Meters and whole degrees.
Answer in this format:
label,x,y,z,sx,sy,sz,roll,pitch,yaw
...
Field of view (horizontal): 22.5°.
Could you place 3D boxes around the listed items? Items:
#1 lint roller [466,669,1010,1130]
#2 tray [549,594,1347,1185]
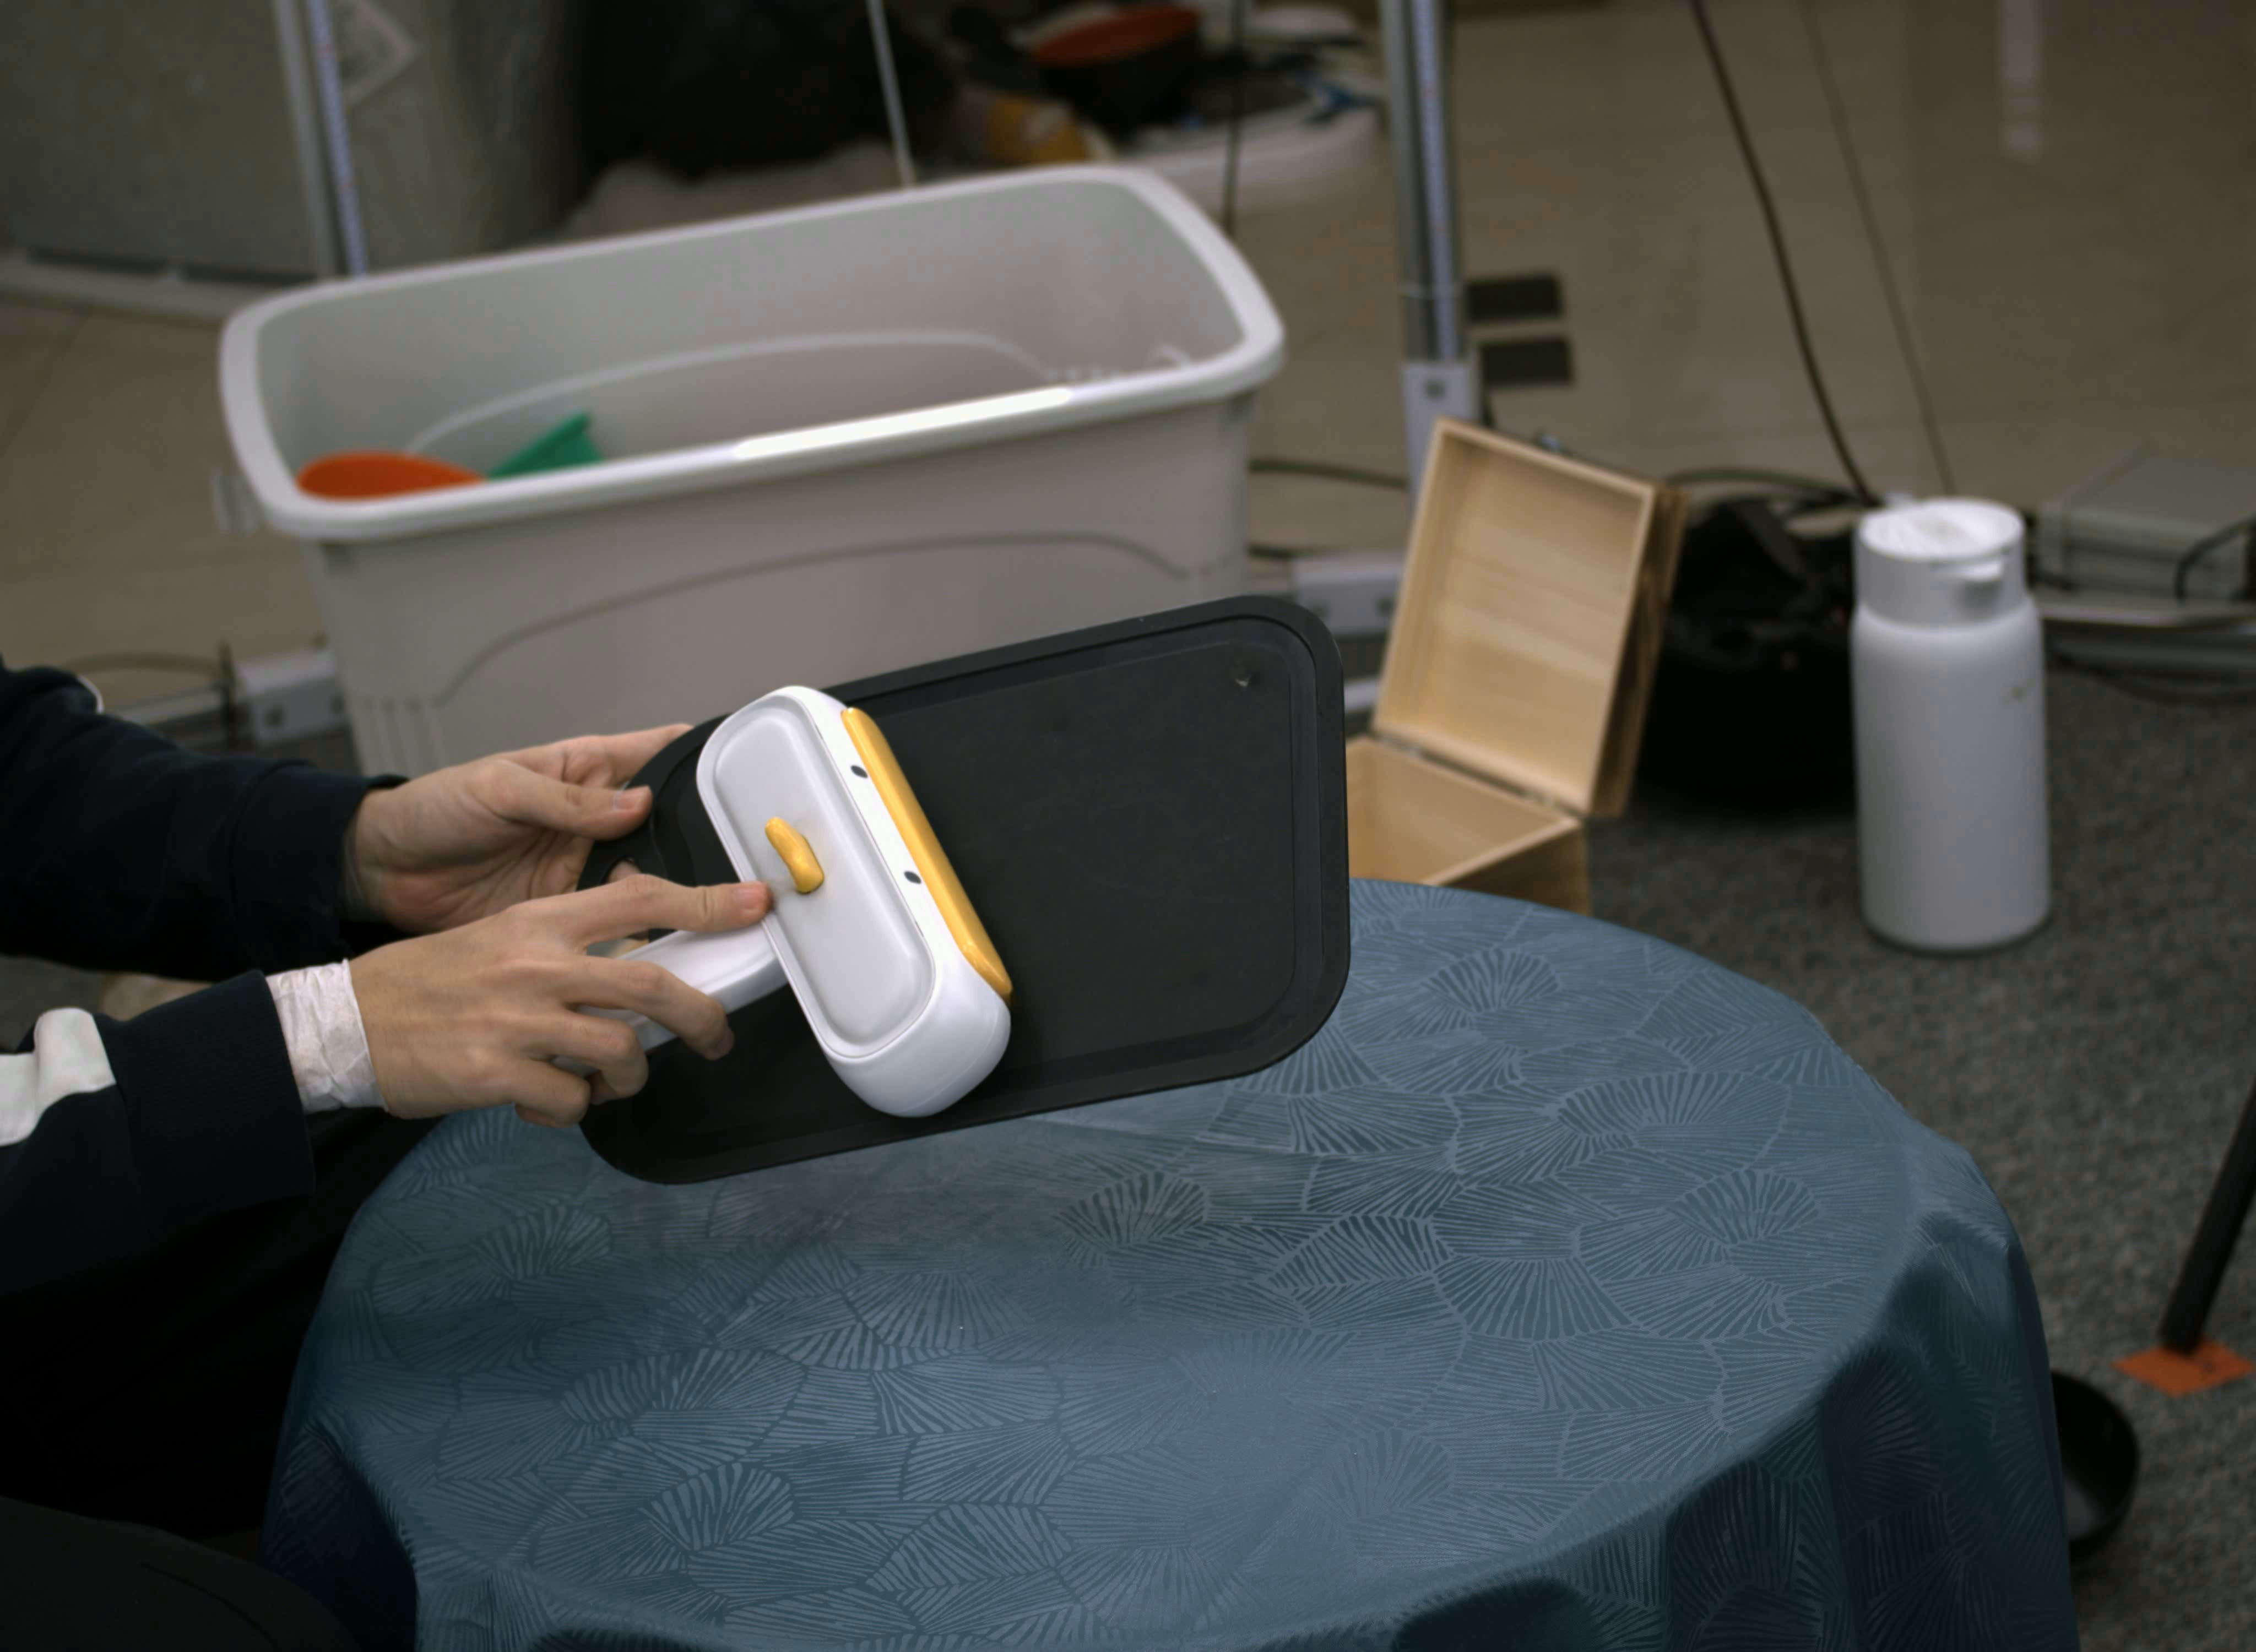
label,x,y,z,sx,sy,sz,roll,pitch,yaw
lint roller,-0.156,0.051,2.103,0.192,0.075,0.190,-37,57,4
tray,-0.072,0.025,2.119,0.325,0.010,0.208,-12,57,19
